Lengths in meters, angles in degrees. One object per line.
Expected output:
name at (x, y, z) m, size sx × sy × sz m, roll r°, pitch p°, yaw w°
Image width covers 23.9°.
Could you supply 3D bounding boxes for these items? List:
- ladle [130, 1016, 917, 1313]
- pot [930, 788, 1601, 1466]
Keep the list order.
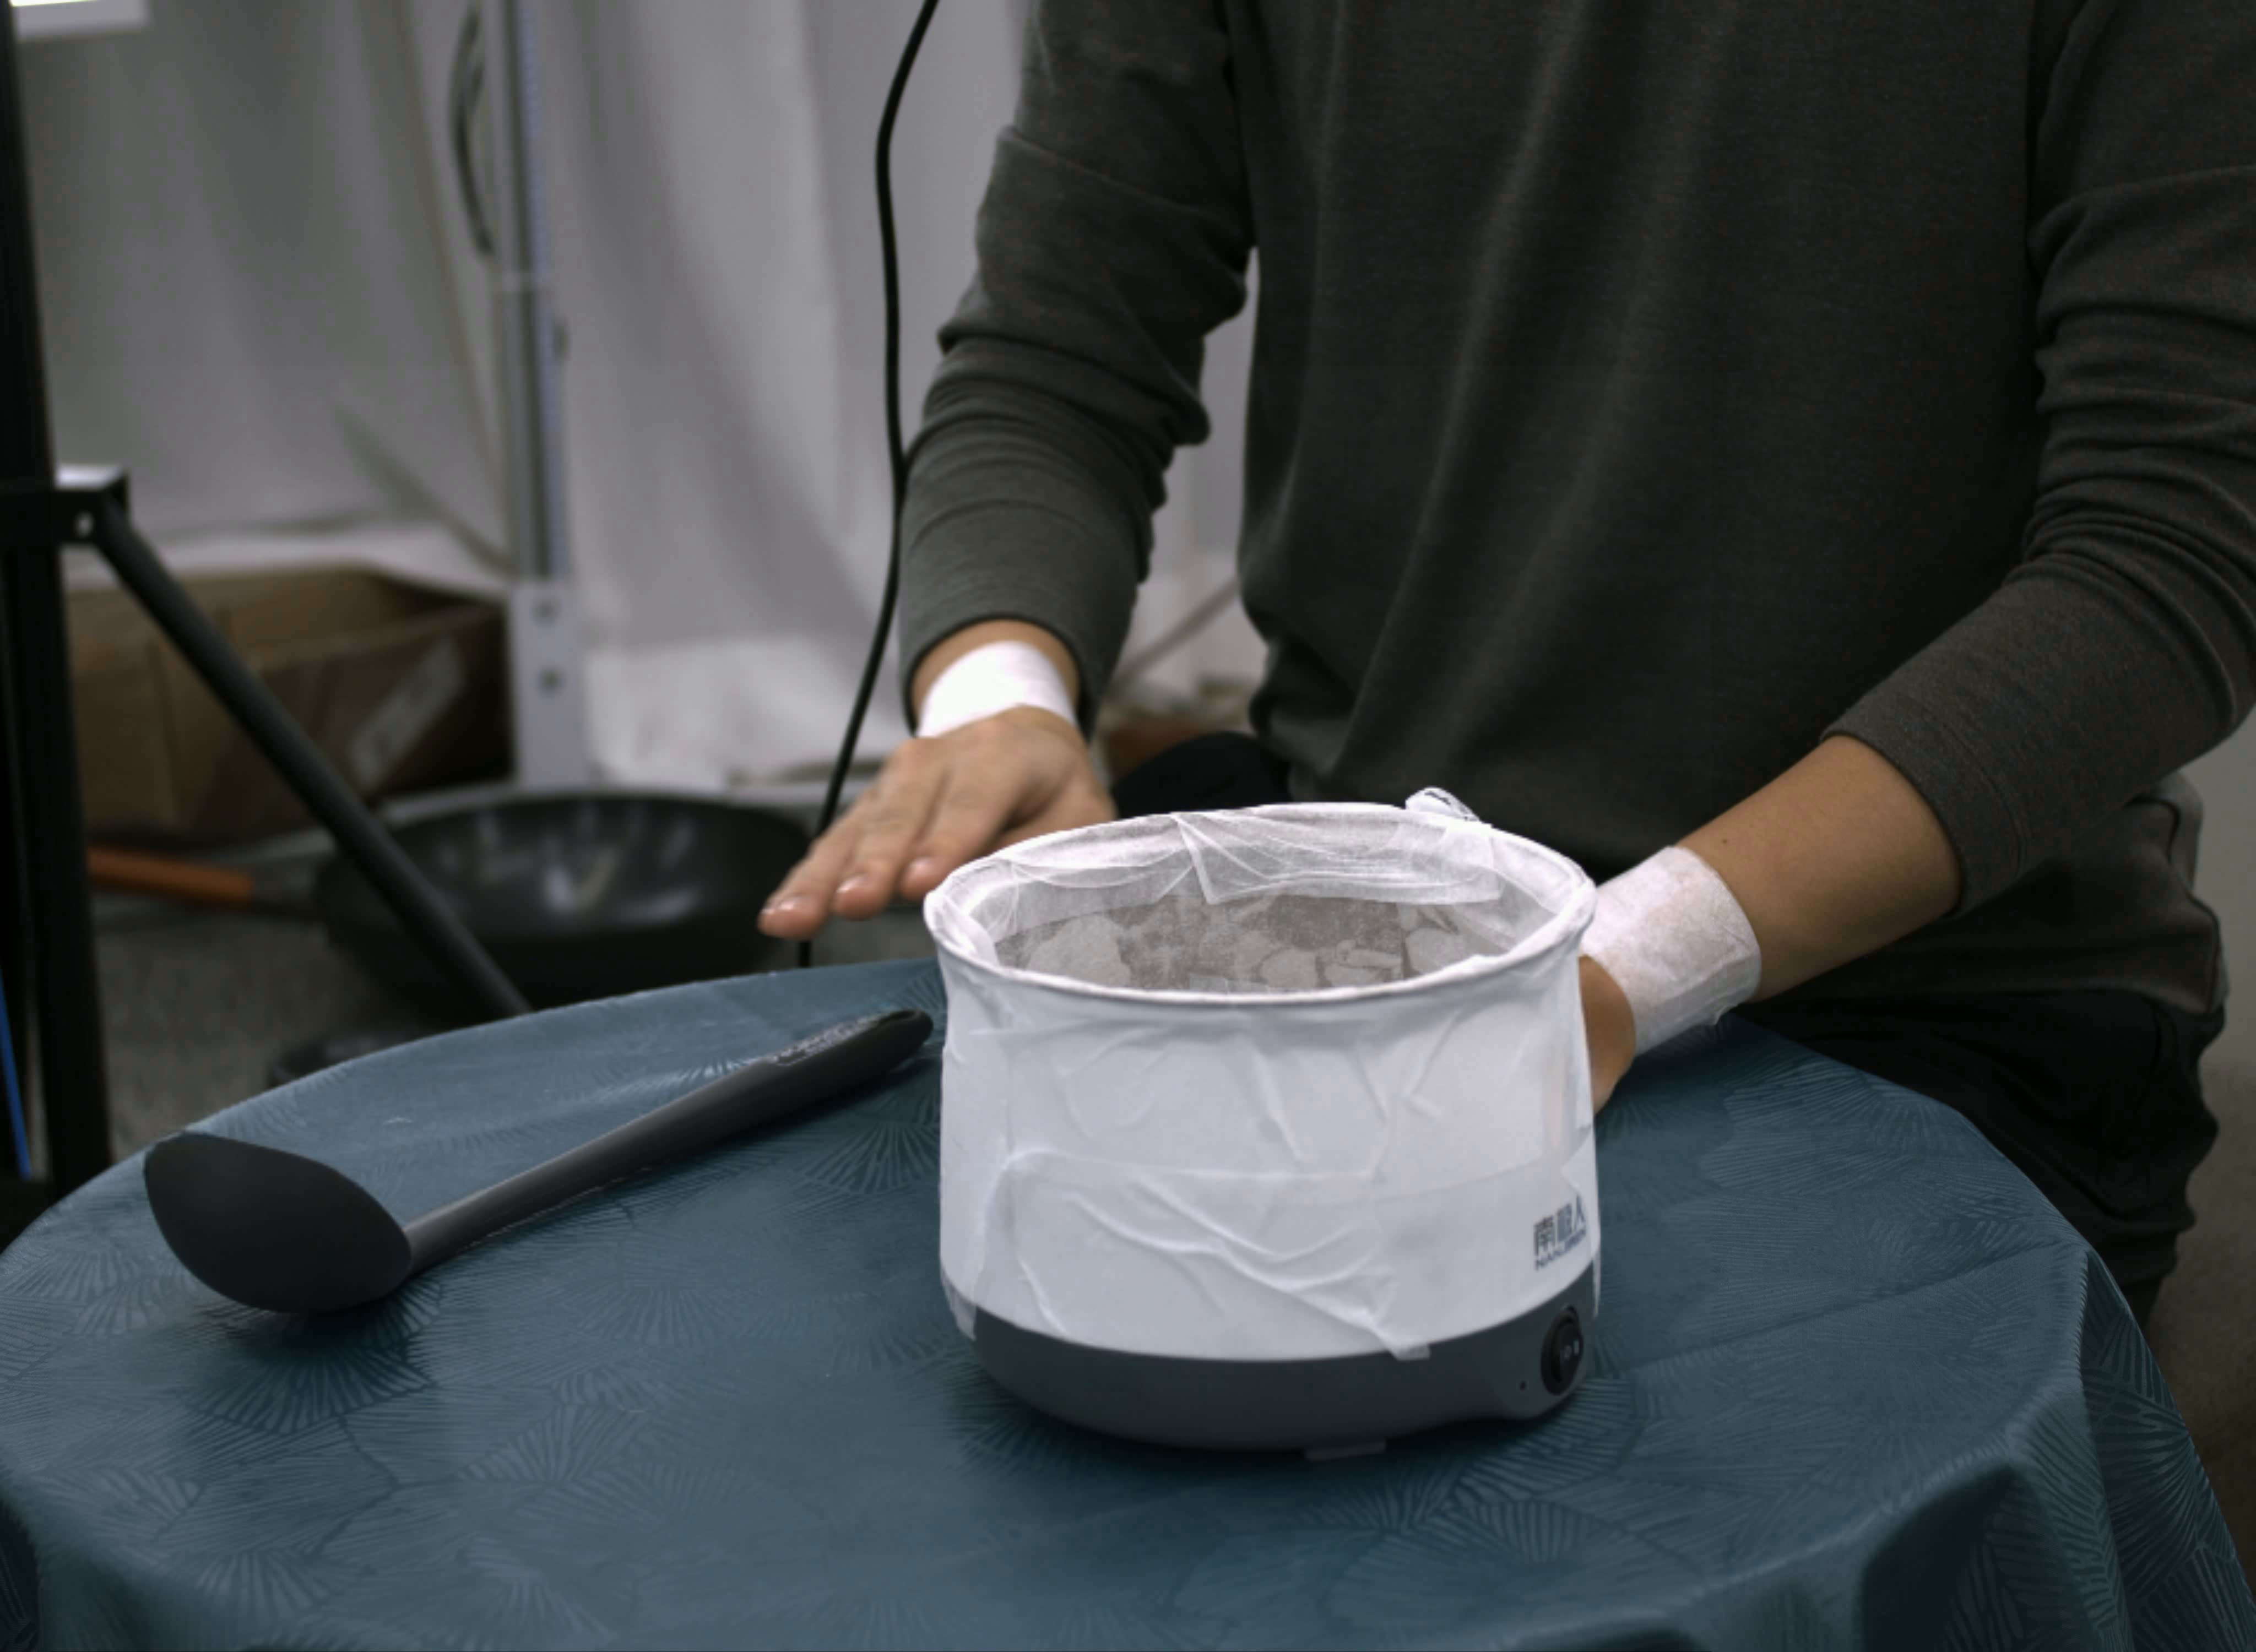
ladle at (-0.162, 0.079, 1.574) m, size 0.088 × 0.064 × 0.307 m, roll 13°, pitch 21°, yaw 35°
pot at (0.051, 0.073, 1.428) m, size 0.182 × 0.136 × 0.229 m, roll 7°, pitch 18°, yaw 30°
